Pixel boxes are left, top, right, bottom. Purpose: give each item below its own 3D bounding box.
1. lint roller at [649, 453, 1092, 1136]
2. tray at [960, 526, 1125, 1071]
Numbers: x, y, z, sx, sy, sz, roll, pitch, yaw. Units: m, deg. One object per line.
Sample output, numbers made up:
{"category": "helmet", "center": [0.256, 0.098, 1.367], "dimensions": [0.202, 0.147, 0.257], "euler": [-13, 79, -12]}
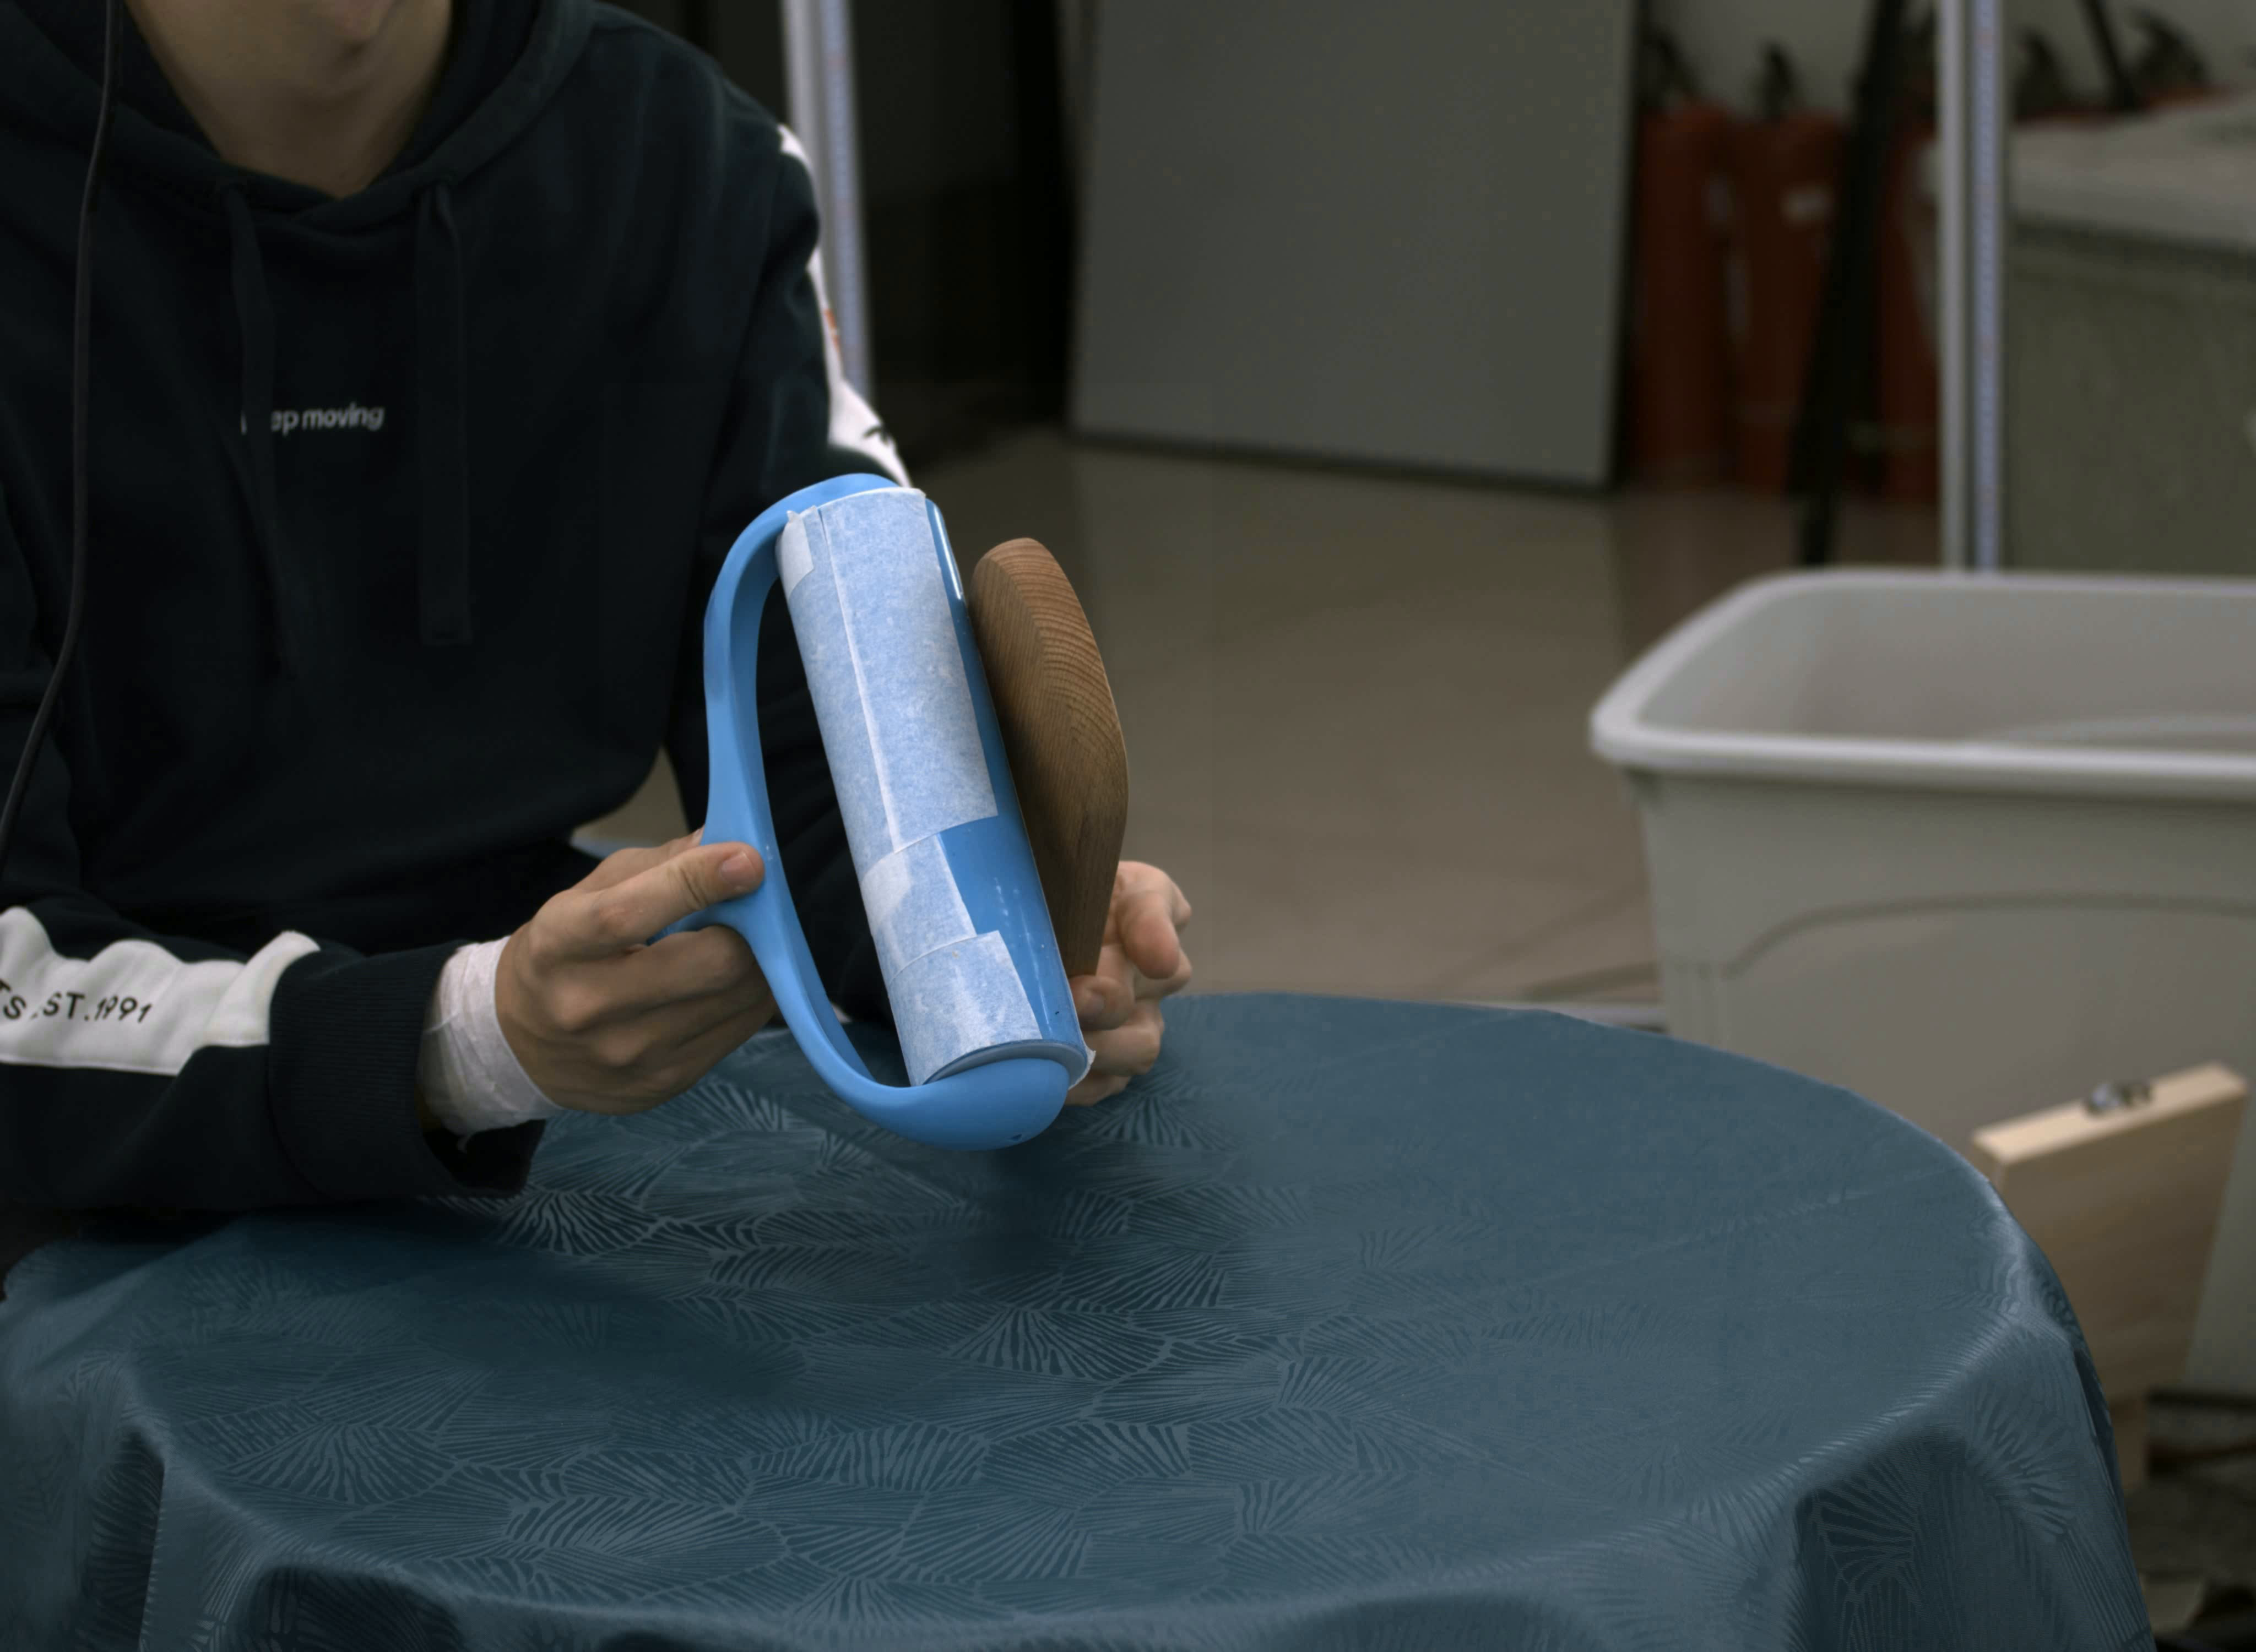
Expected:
{"category": "lint roller", "center": [-0.102, 0.018, 1.666], "dimensions": [0.181, 0.232, 0.066], "euler": [-37, -32, 31]}
{"category": "tray", "center": [-0.034, -0.004, 1.690], "dimensions": [0.020, 0.232, 0.103], "euler": [-14, 60, -17]}
